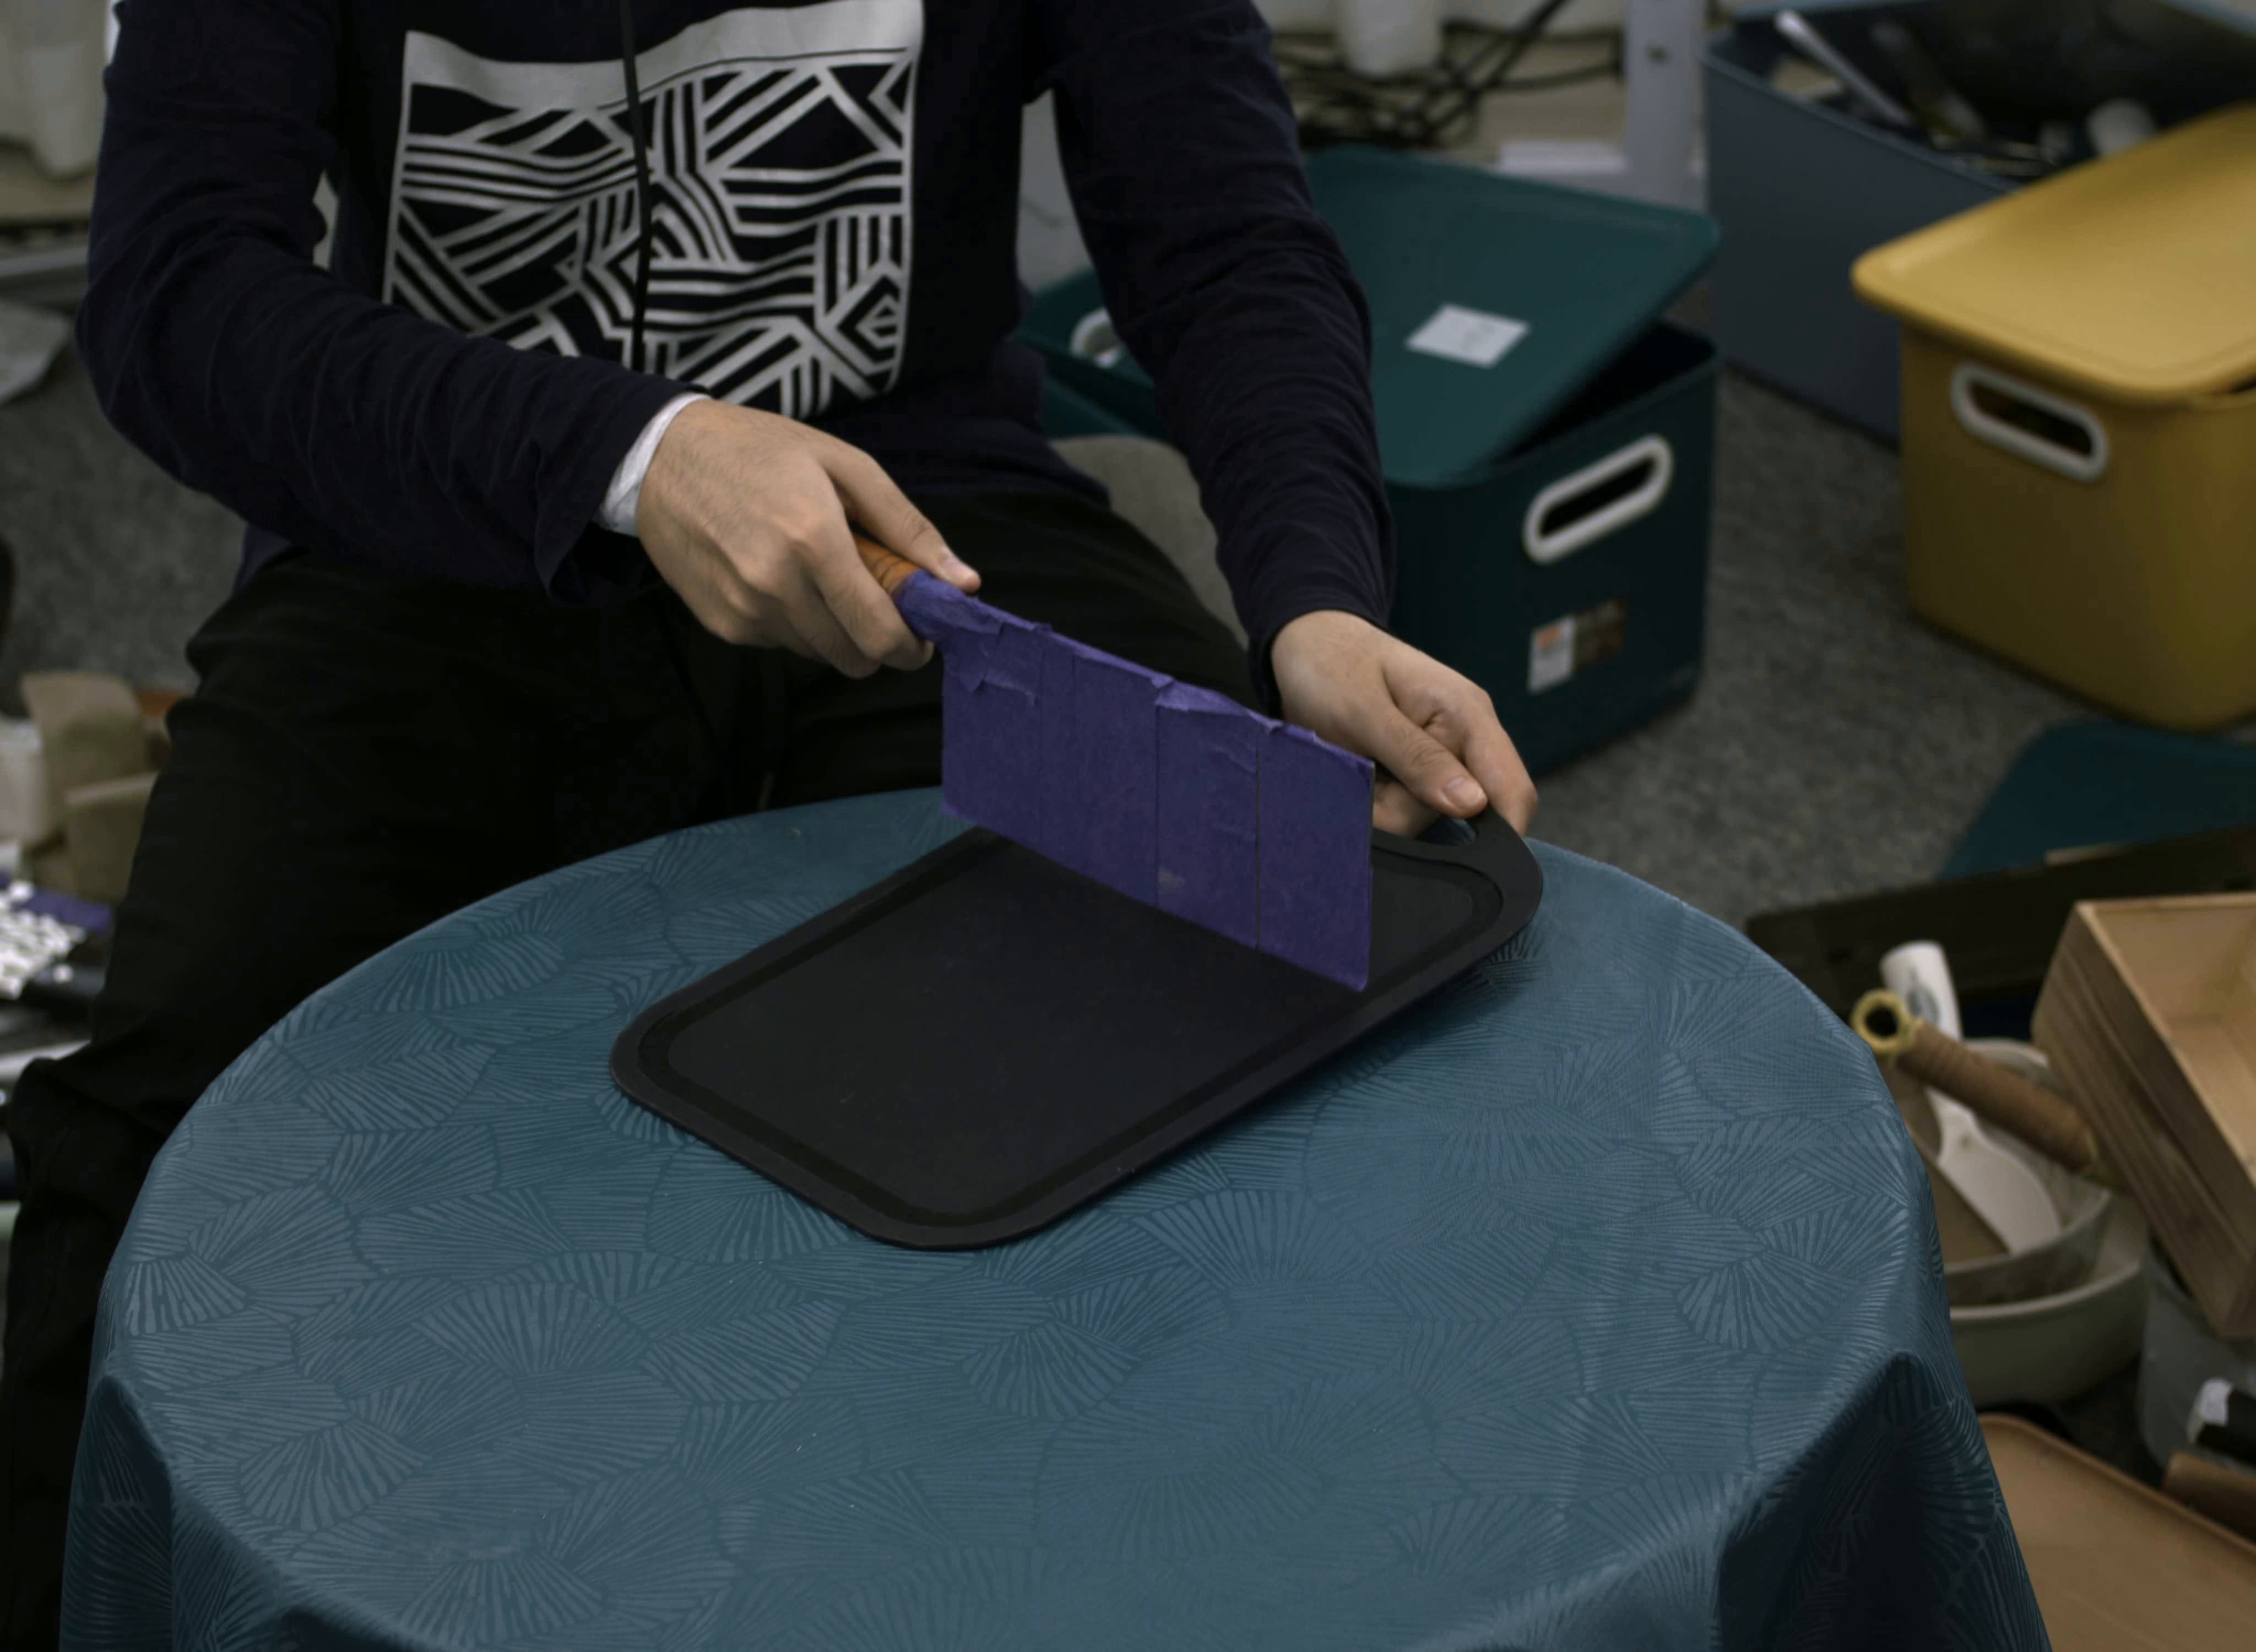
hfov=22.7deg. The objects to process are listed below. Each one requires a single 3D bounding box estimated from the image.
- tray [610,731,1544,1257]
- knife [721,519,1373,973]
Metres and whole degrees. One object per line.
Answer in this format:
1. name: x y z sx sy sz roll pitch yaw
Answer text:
1. tray: -0.011 0.048 1.977 0.329 0.009 0.211 -29 37 -33
2. knife: -0.033 -0.027 2.014 0.032 0.103 0.315 -18 31 -42
